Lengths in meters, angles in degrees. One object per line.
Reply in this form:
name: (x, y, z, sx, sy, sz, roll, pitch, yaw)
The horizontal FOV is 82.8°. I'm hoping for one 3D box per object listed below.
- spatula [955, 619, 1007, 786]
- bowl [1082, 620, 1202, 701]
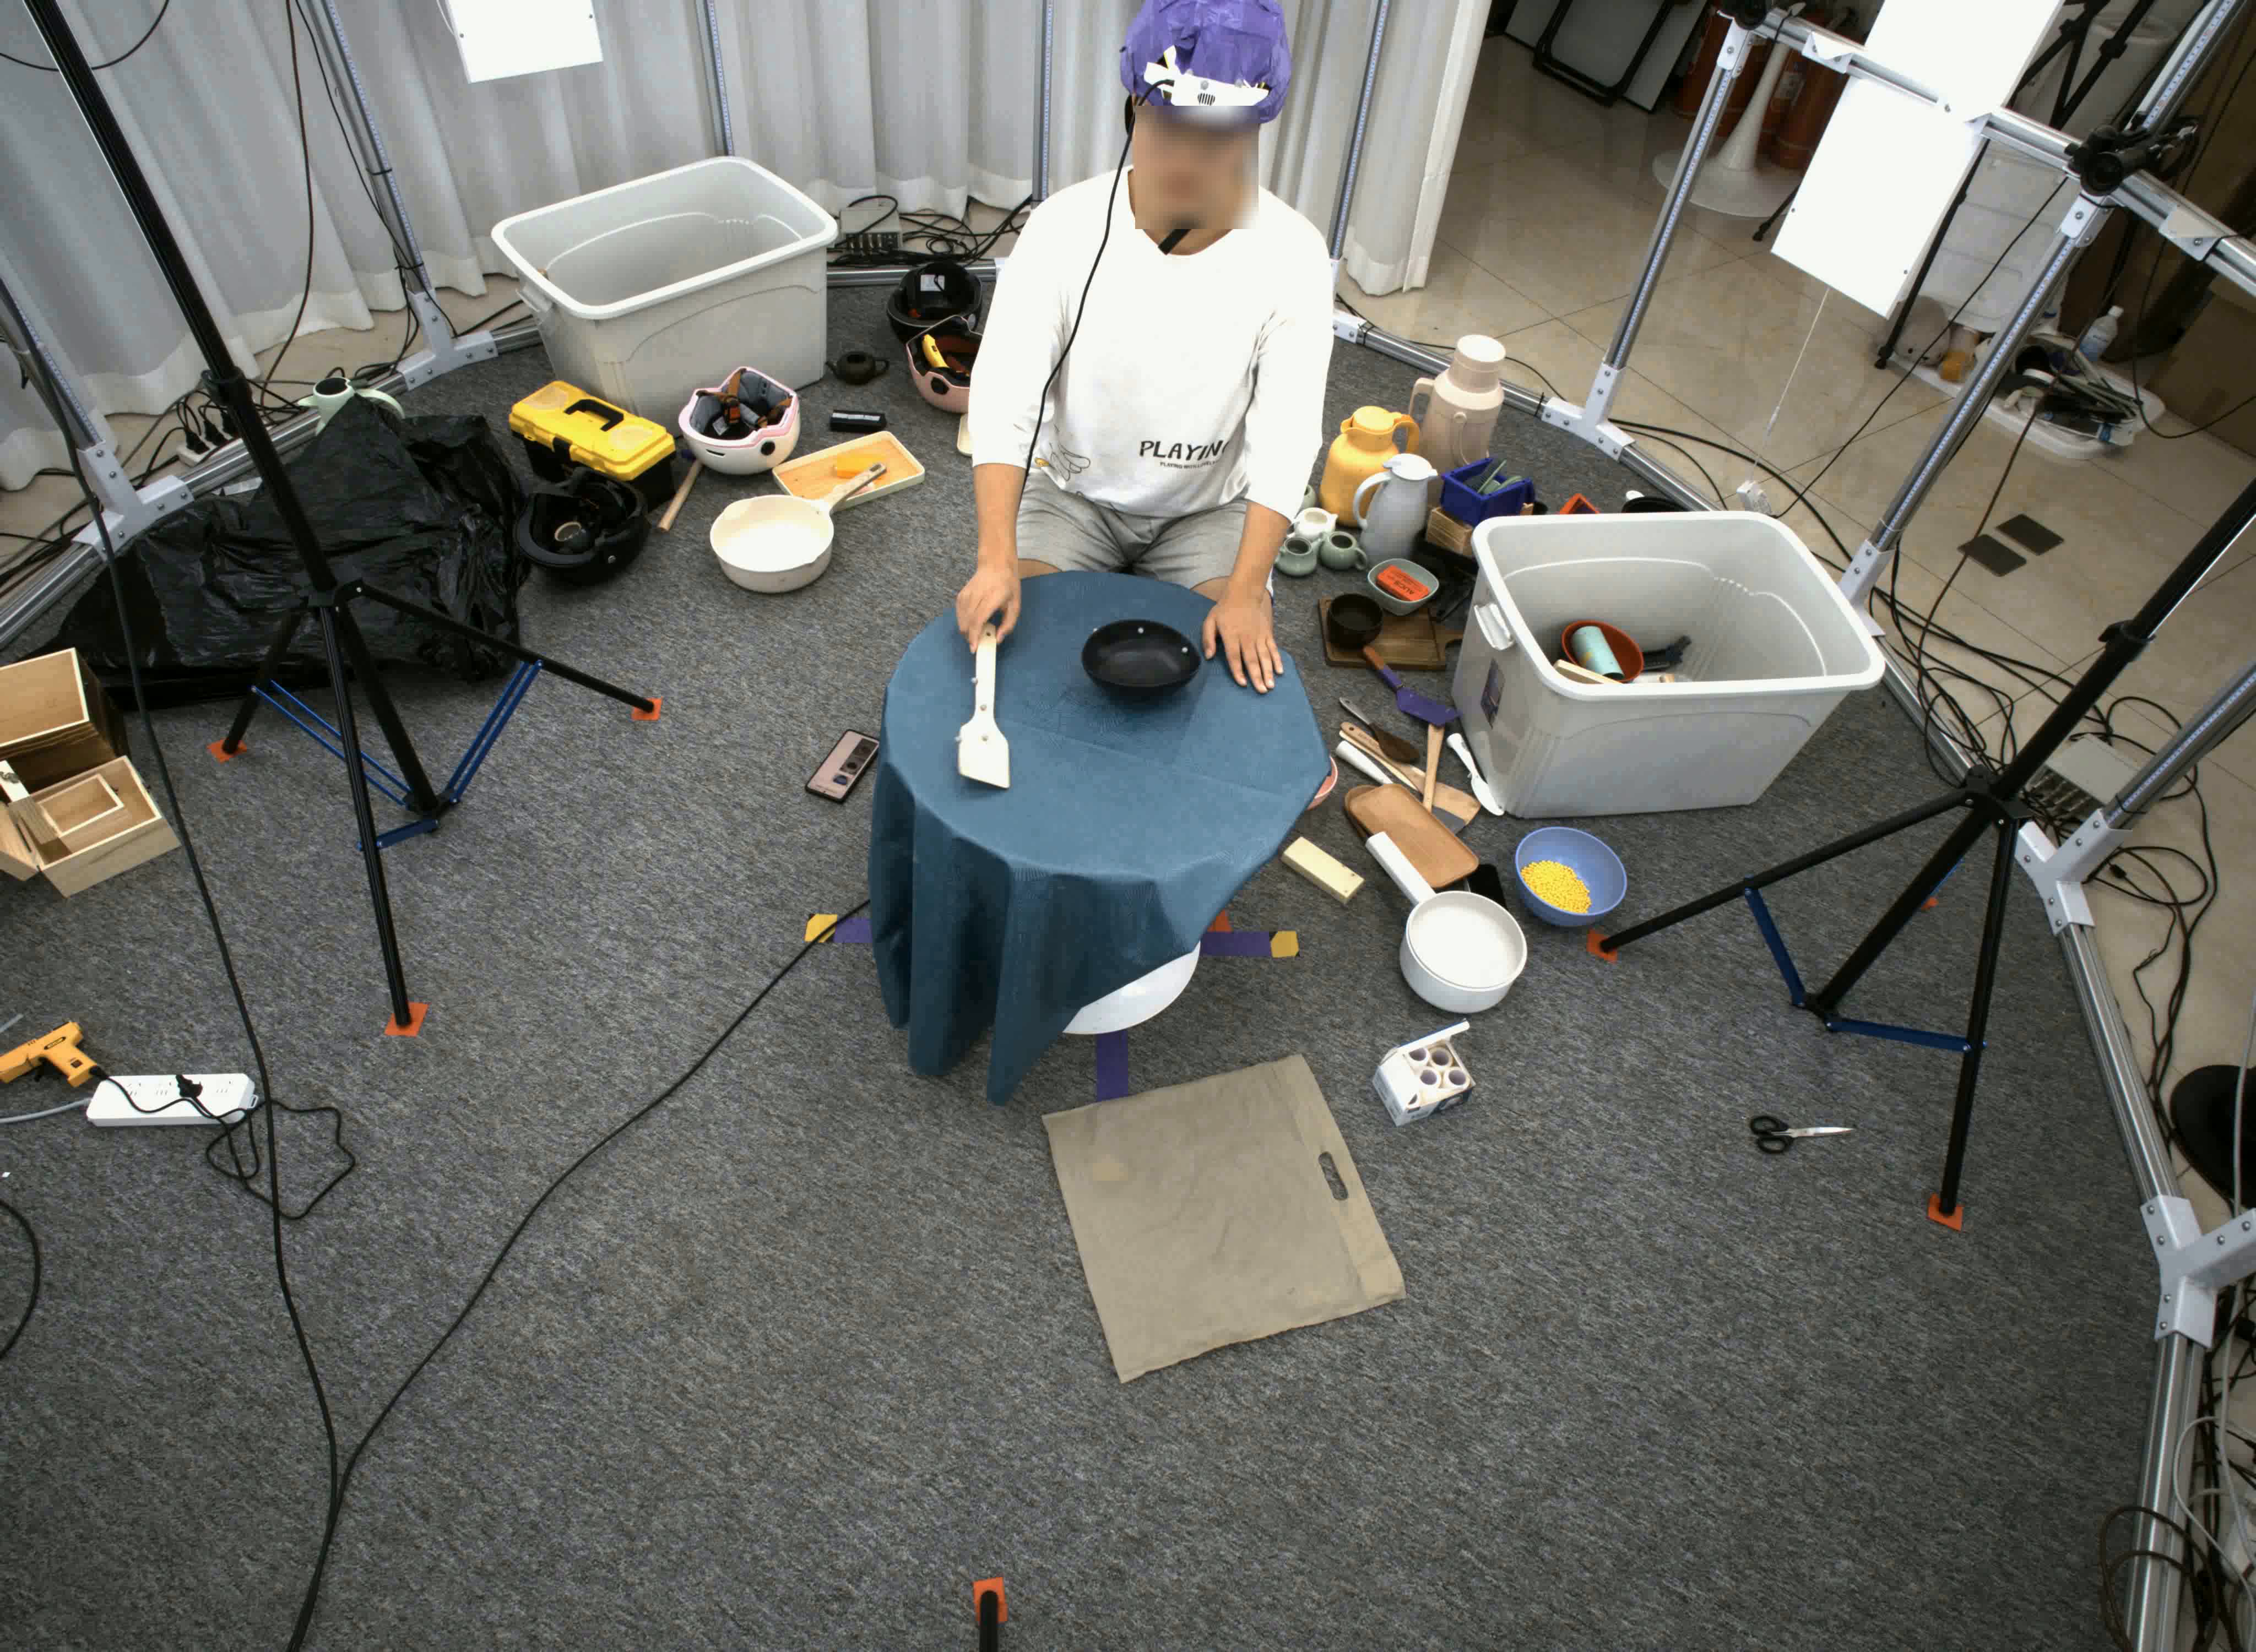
spatula: (-0.198, -0.179, 1.774, 0.072, 0.010, 0.300, 14, 50, -20)
bowl: (0.018, -0.225, 1.820, 0.170, 0.065, 0.141, -3, 49, -10)
